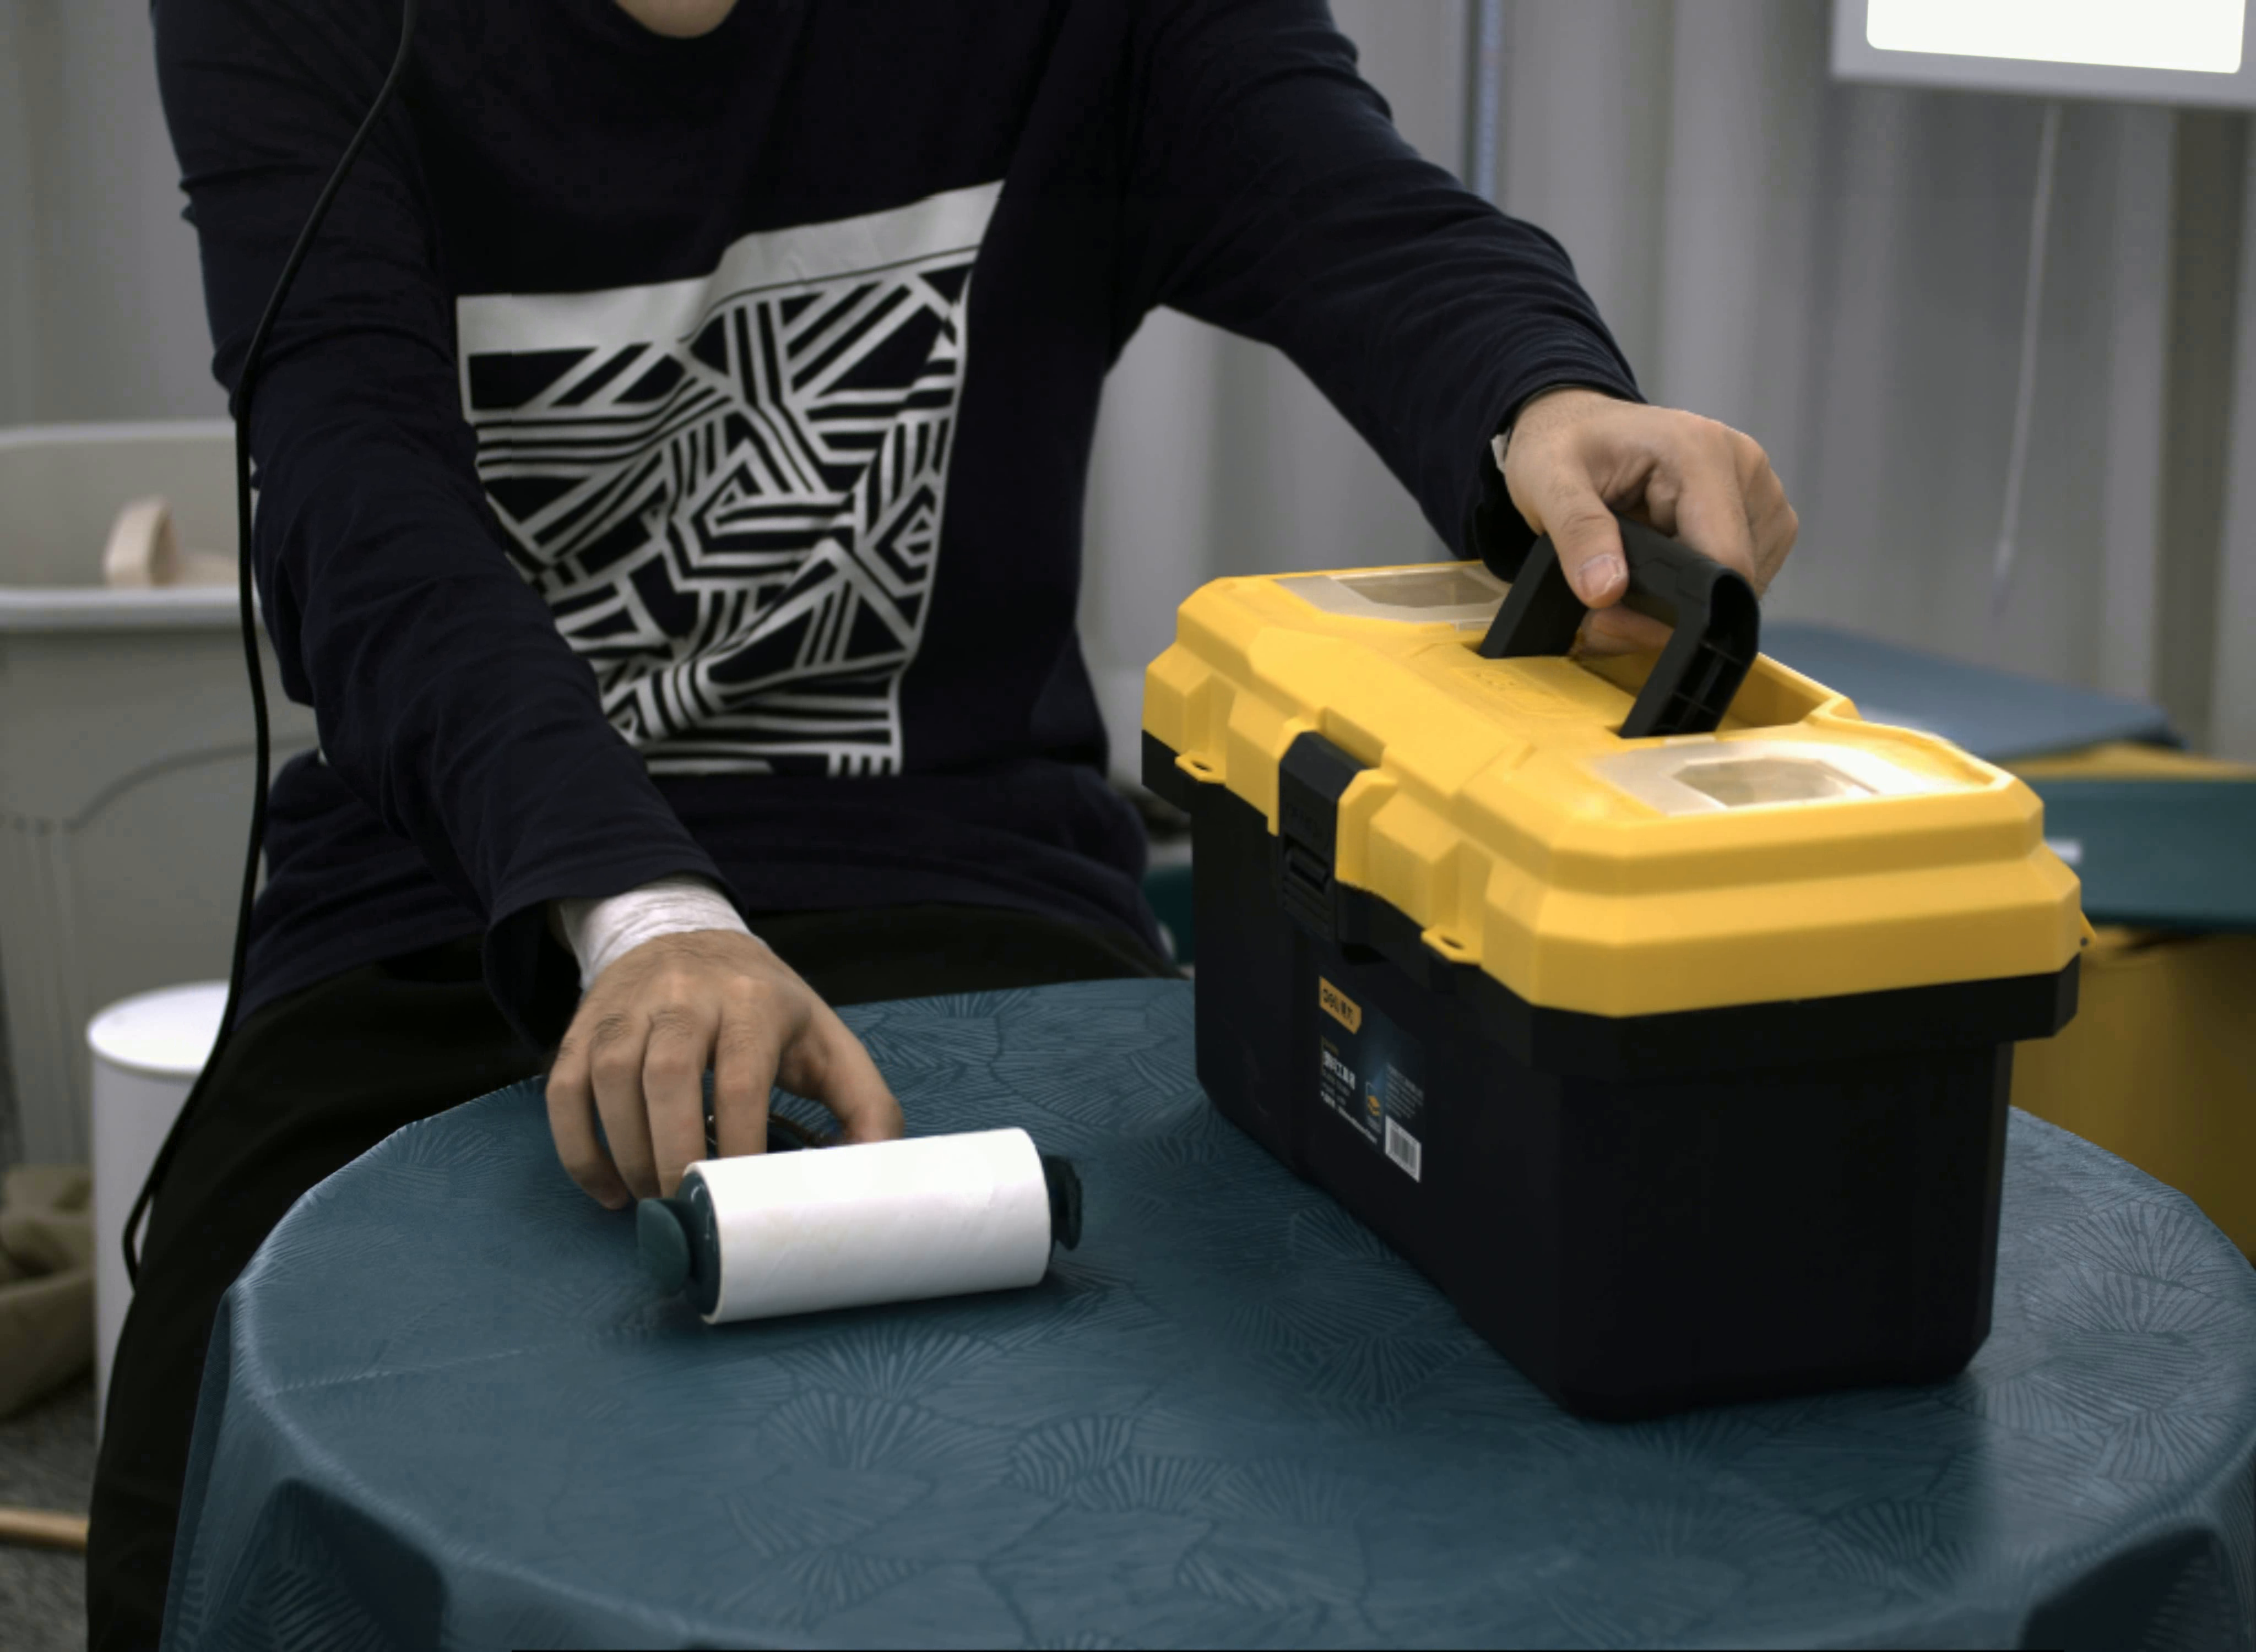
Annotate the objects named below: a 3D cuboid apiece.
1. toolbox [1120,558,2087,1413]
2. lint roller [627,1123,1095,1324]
[{"bbox_3d":[0.131,0.038,1.571,0.182,0.174,0.347,-5,16,-19],"label":"toolbox"},{"bbox_3d":[-0.100,0.103,1.583,0.134,0.048,0.178,-6,13,-20],"label":"lint roller"}]
